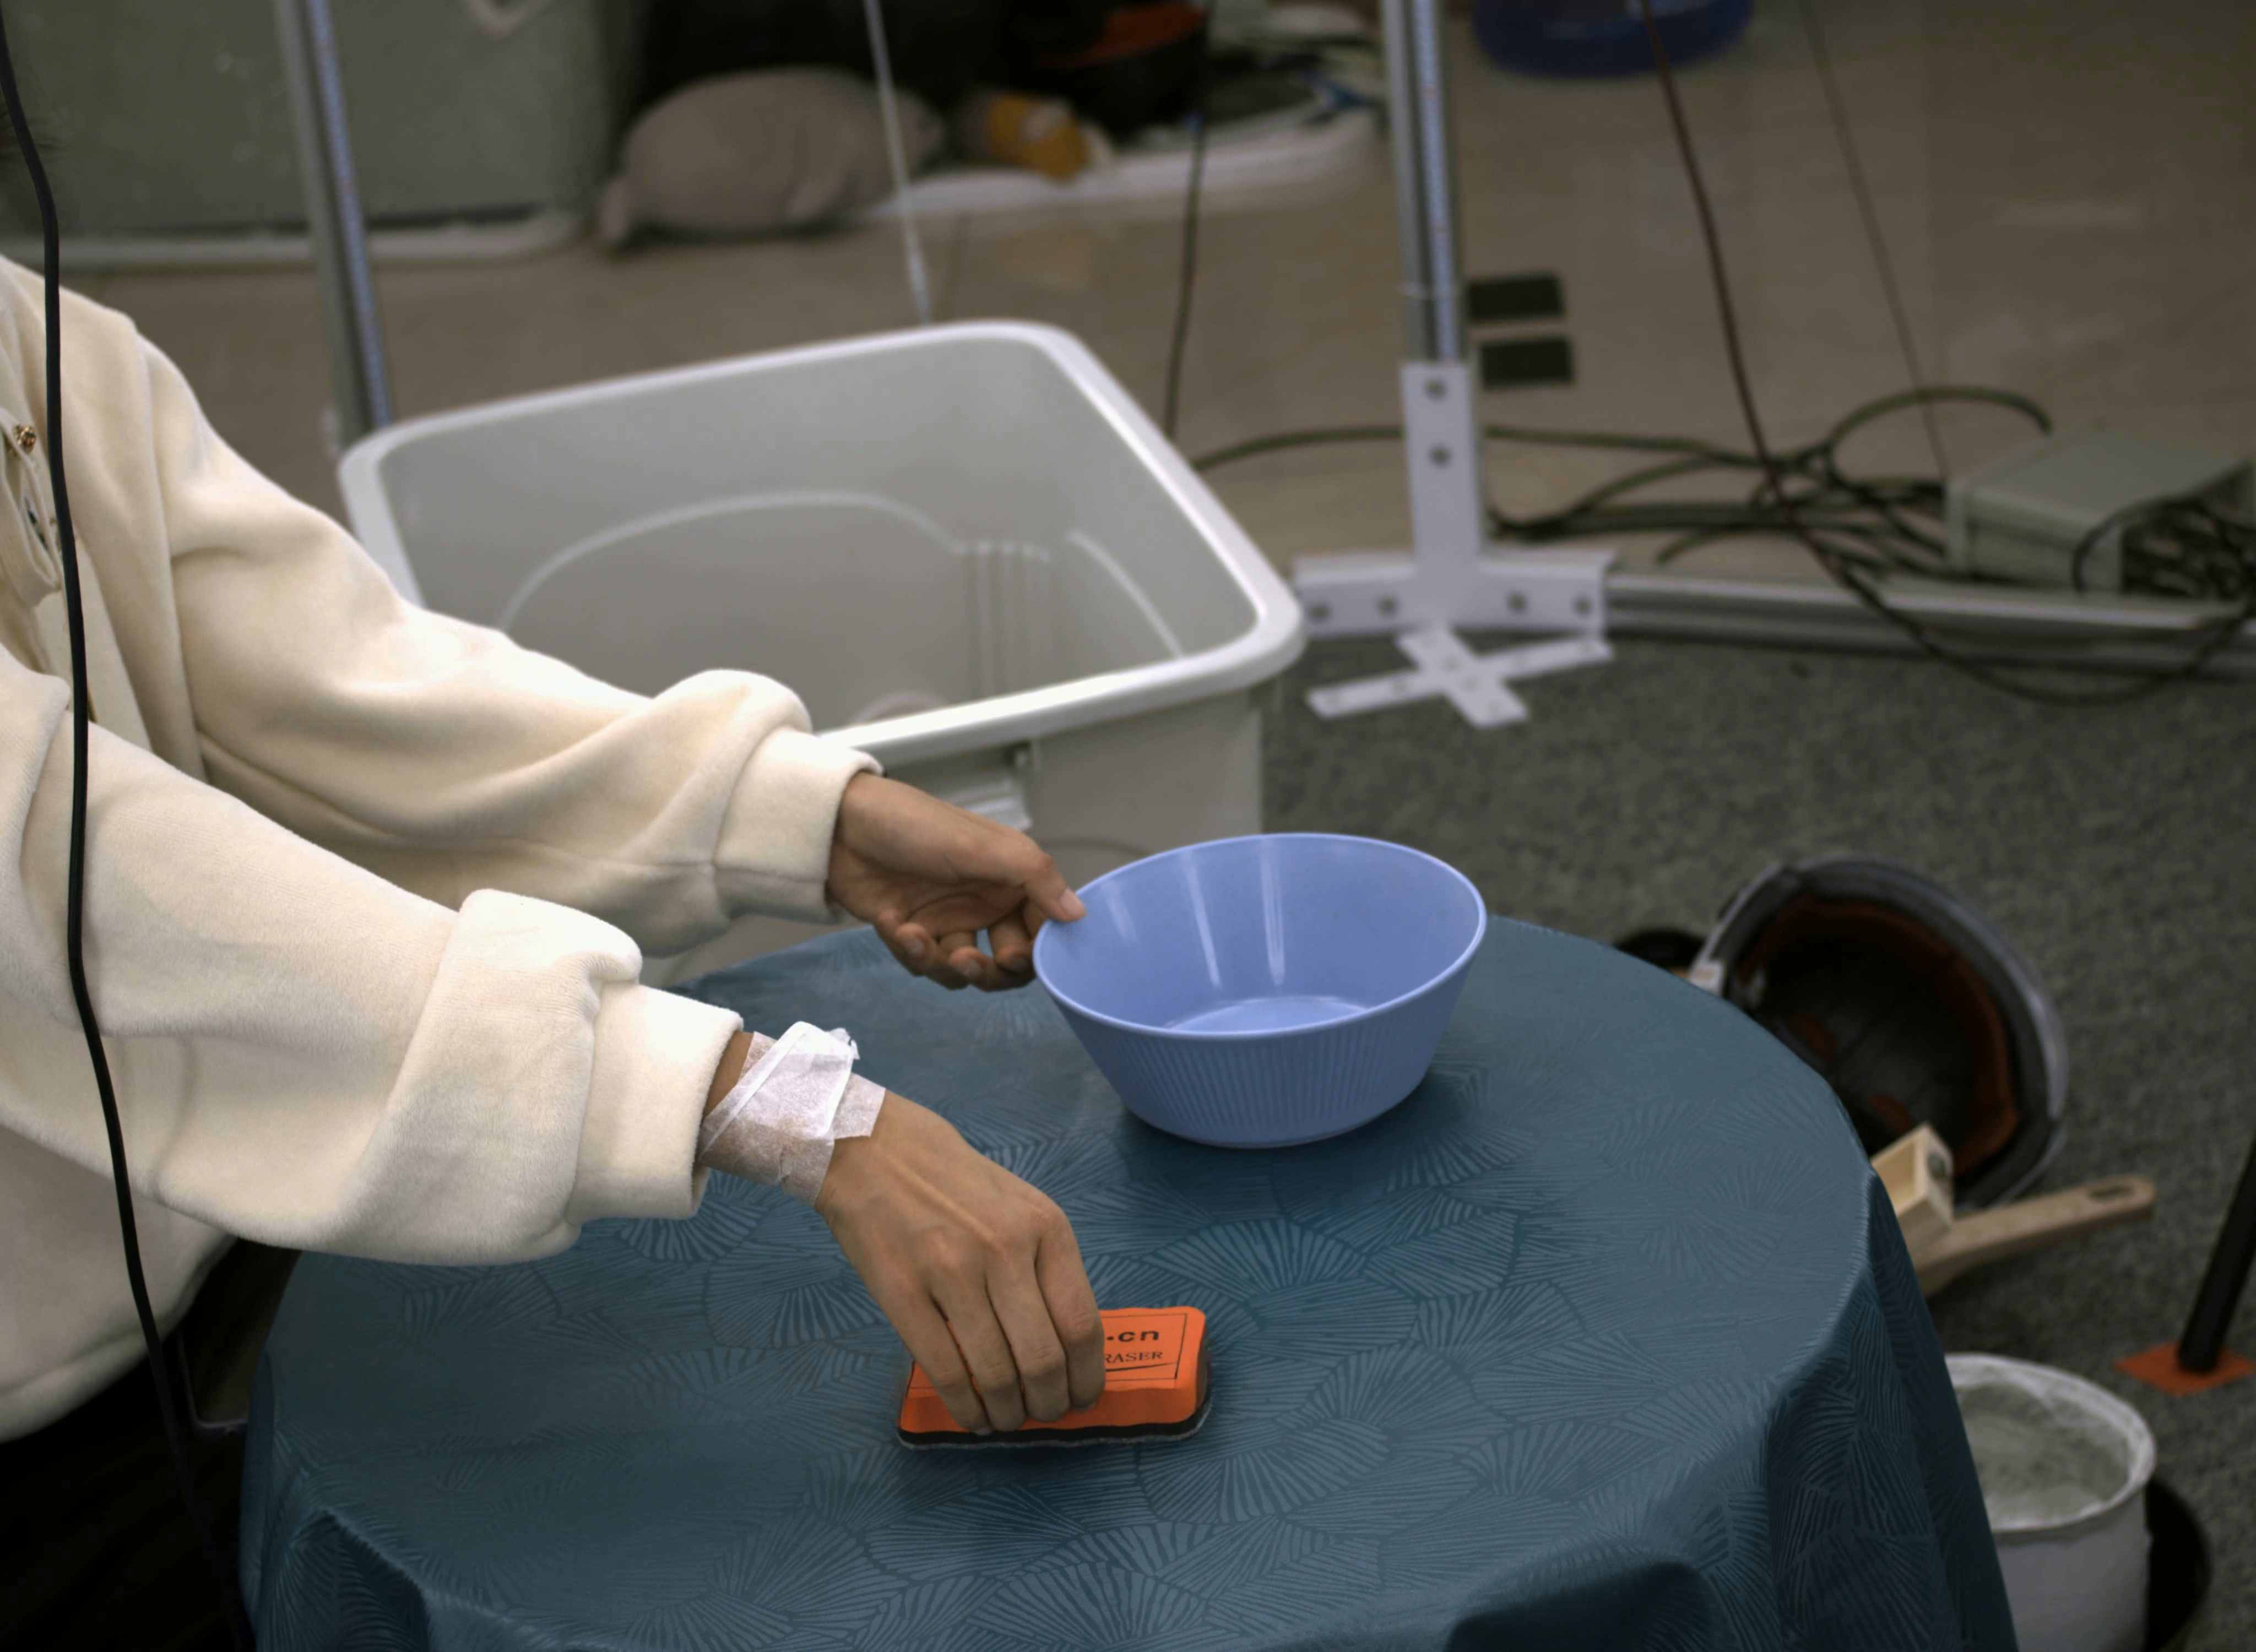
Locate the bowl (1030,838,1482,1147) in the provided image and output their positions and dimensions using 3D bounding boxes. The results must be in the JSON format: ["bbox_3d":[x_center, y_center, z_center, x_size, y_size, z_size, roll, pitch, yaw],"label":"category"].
[{"bbox_3d":[0.052,0.070,2.198,0.176,0.071,0.173,-5,25,2],"label":"bowl"}]

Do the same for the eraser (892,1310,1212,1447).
[{"bbox_3d":[-0.026,0.195,2.007,0.108,0.023,0.058,-2,28,10],"label":"eraser"}]
